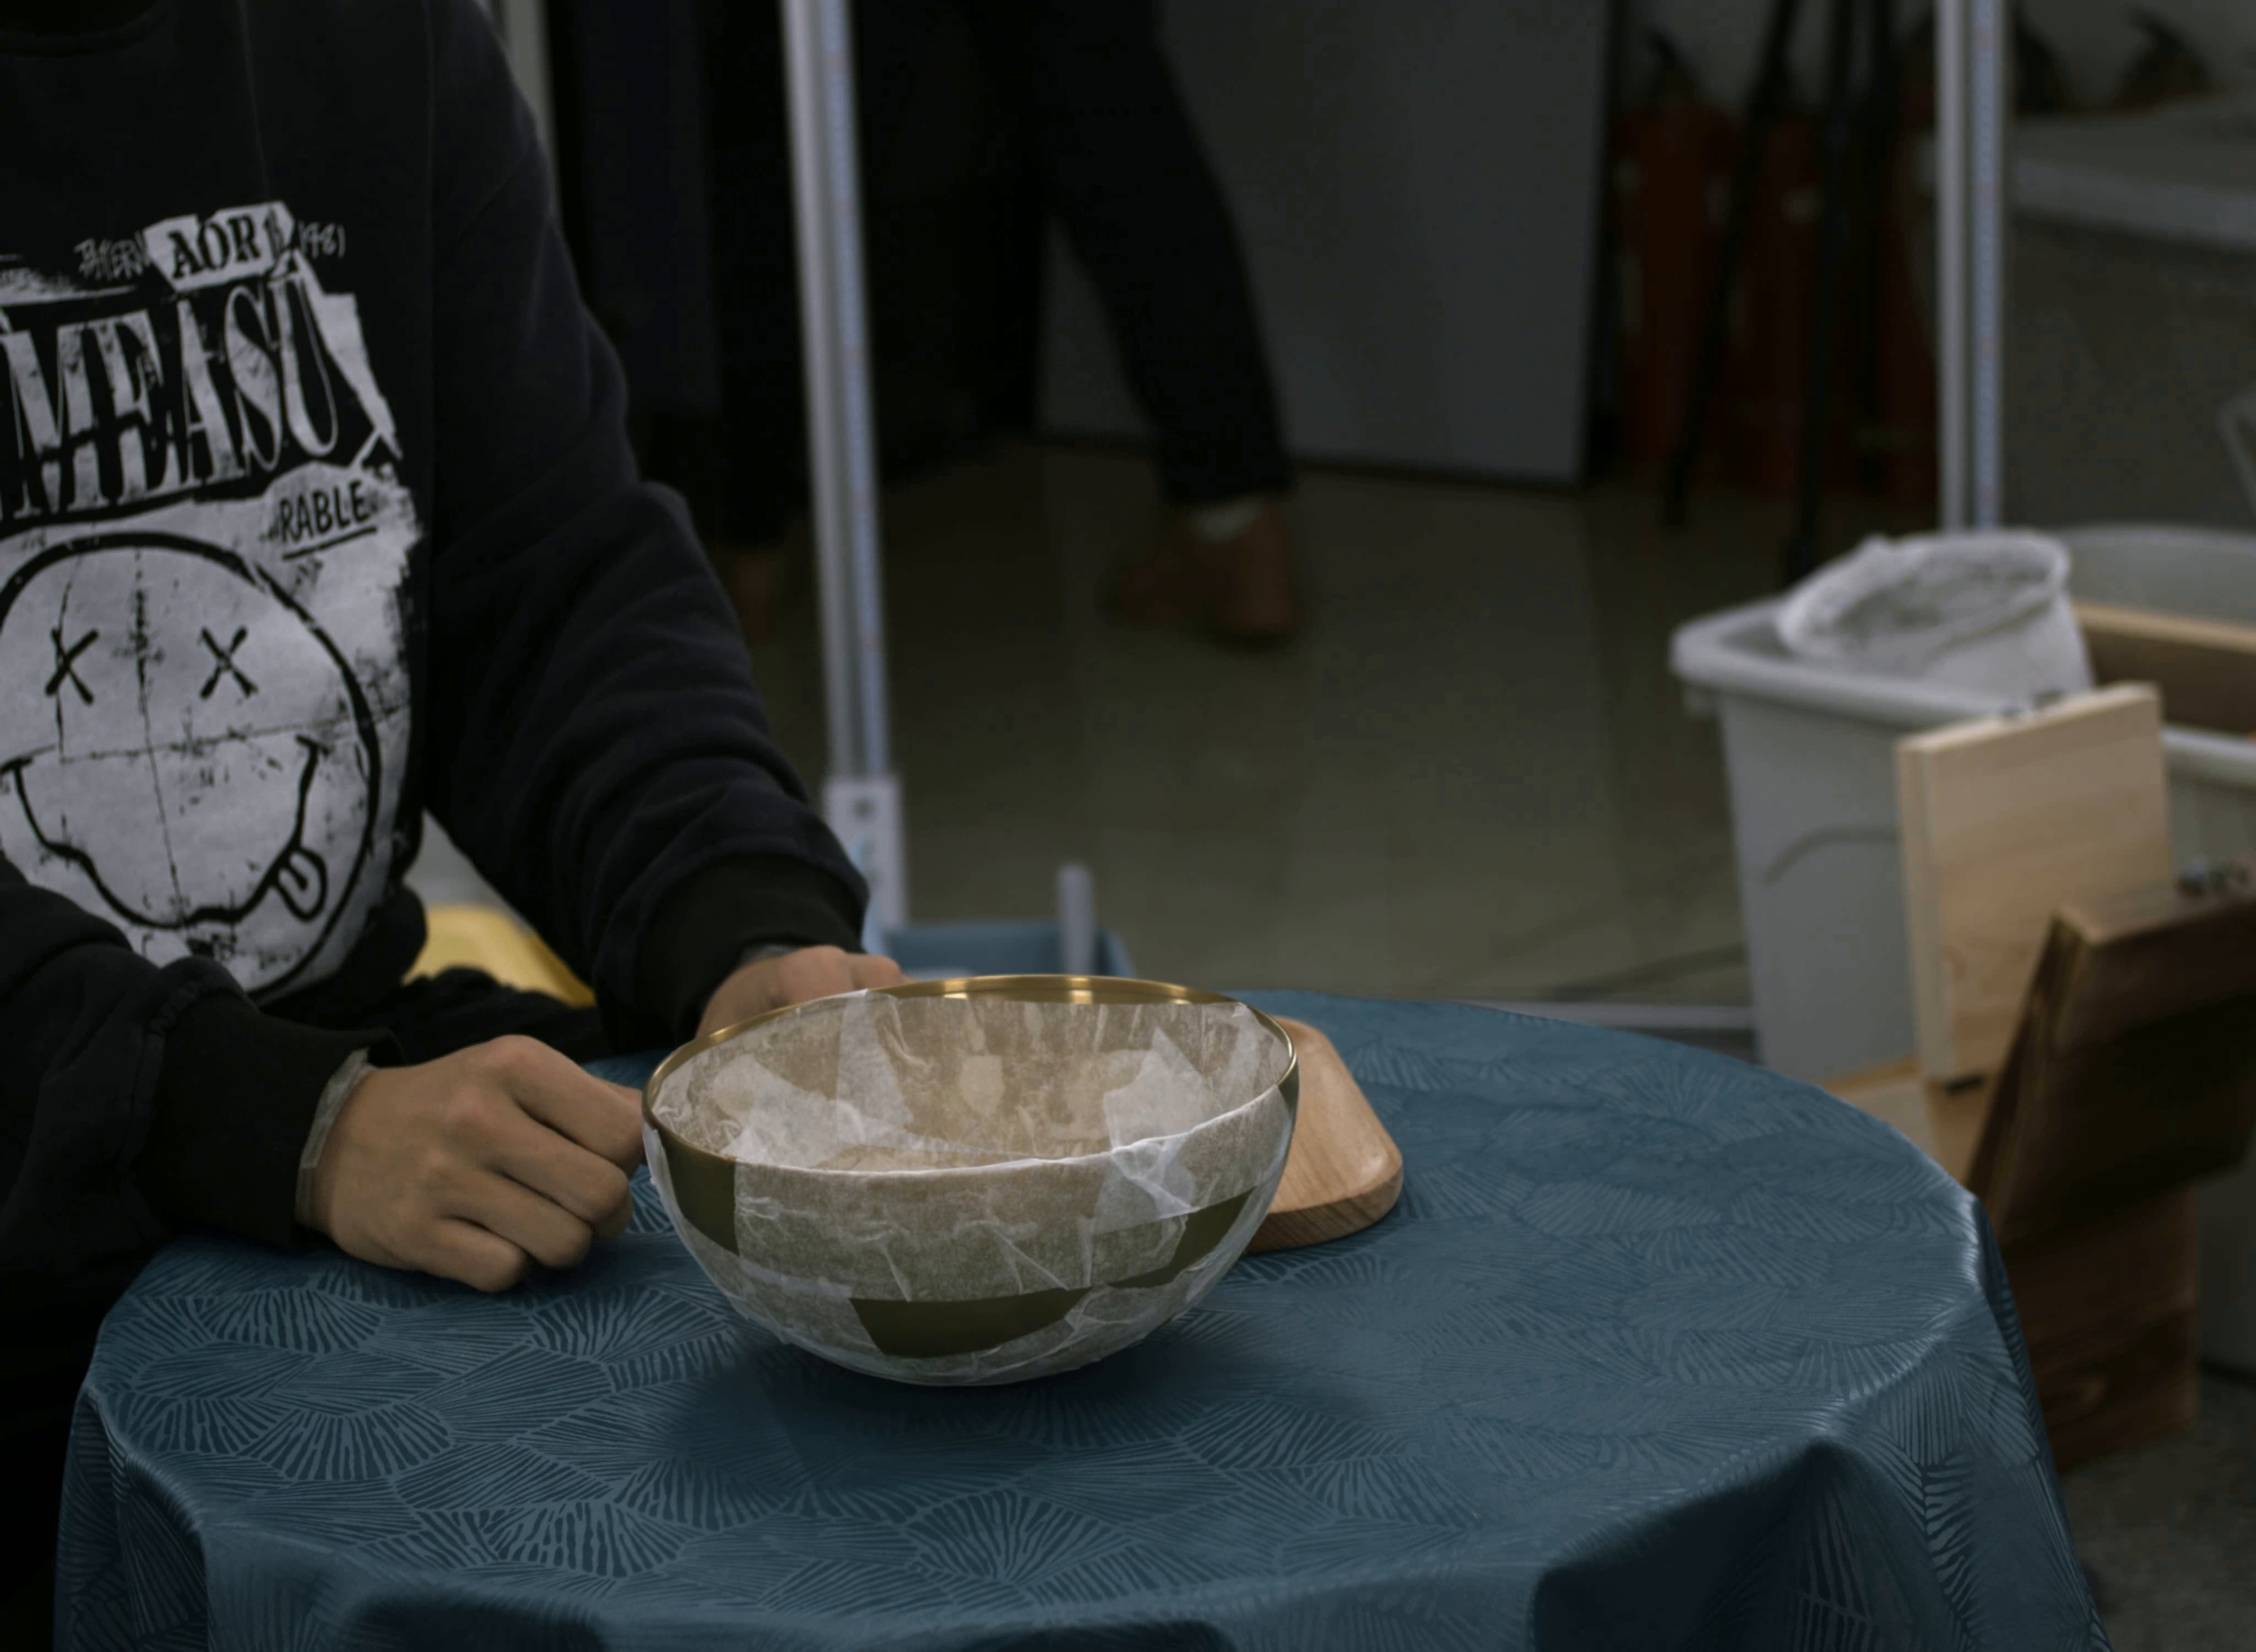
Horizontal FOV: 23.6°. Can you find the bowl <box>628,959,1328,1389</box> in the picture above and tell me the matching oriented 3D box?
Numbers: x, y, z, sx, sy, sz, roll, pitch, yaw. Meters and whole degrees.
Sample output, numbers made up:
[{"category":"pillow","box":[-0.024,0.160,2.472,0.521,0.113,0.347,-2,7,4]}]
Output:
[{"category":"bowl","box":[-0.043,0.113,1.624,0.212,0.095,0.215,-5,14,0]}]

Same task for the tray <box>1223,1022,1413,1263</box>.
[{"category":"tray","box":[0.032,0.103,1.804,0.100,0.020,0.232,-8,16,-7]}]
